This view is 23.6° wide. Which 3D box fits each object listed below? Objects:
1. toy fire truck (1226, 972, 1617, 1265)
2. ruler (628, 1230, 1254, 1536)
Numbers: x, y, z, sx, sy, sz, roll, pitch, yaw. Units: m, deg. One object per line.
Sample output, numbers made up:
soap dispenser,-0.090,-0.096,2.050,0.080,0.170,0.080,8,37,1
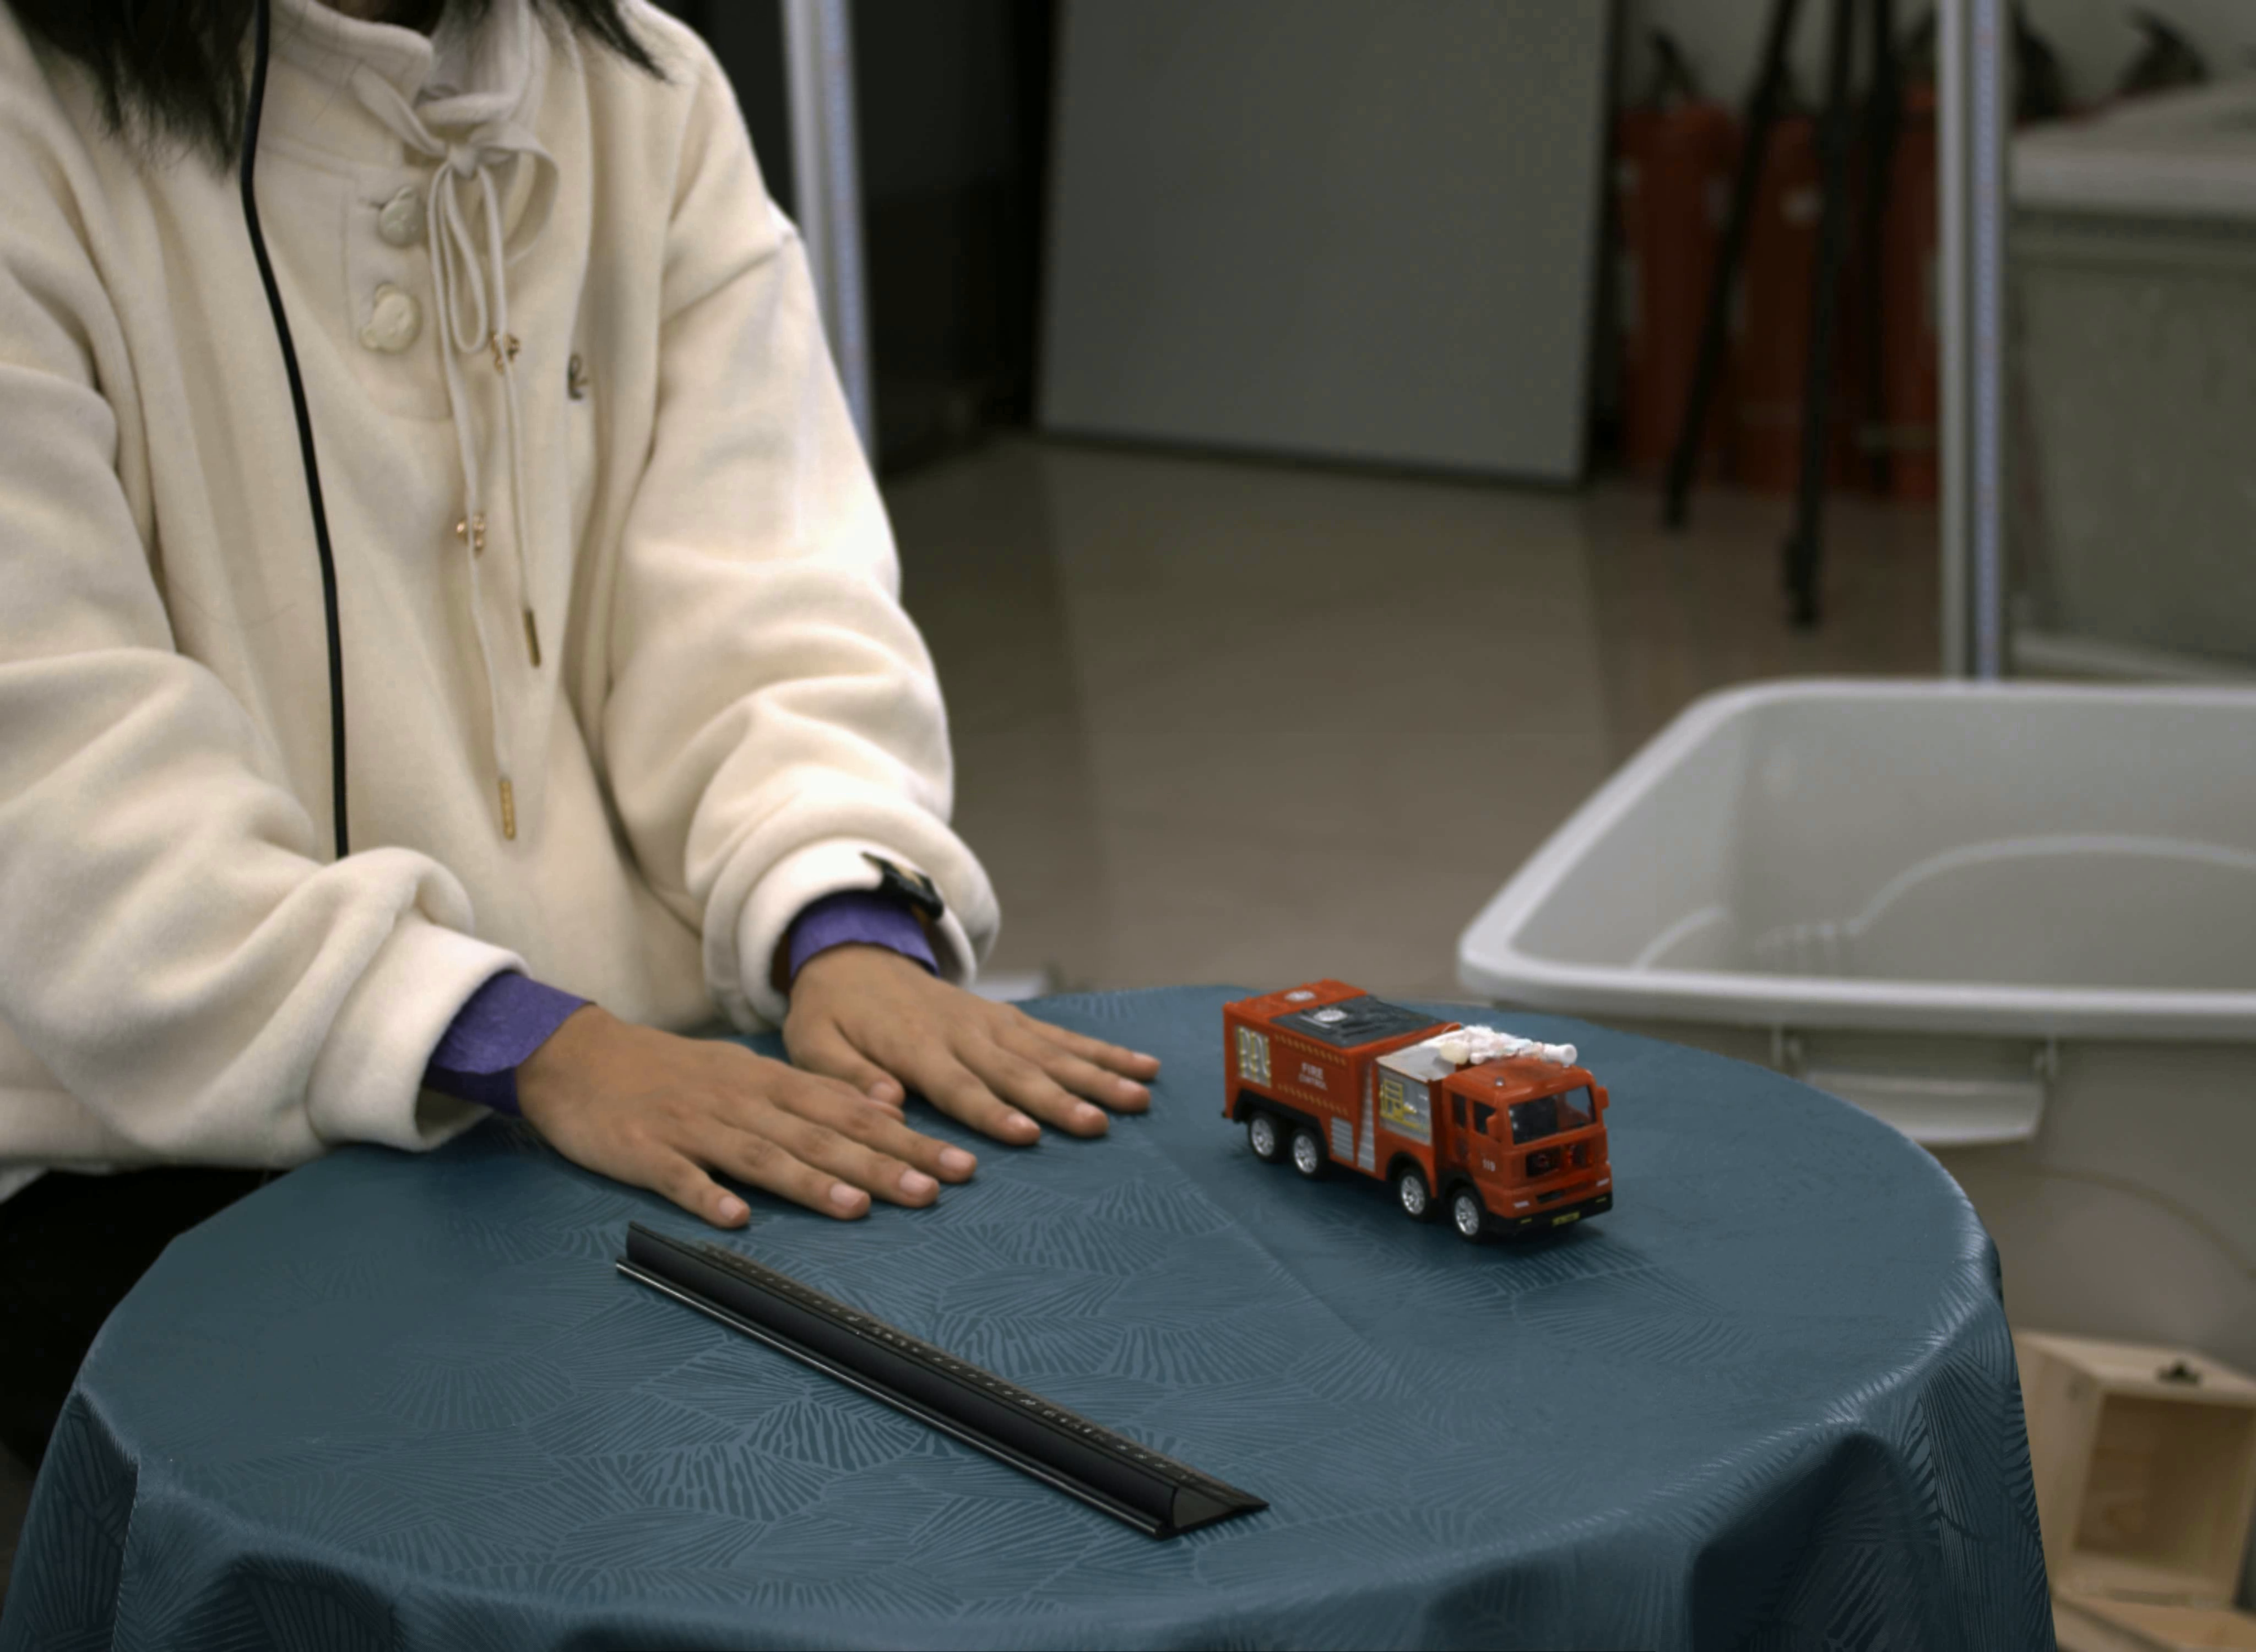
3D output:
toy fire truck,0.094,0.091,1.743,0.053,0.071,0.170,-12,14,-30
ruler,-0.061,0.159,1.602,0.038,0.017,0.316,-8,13,-31
